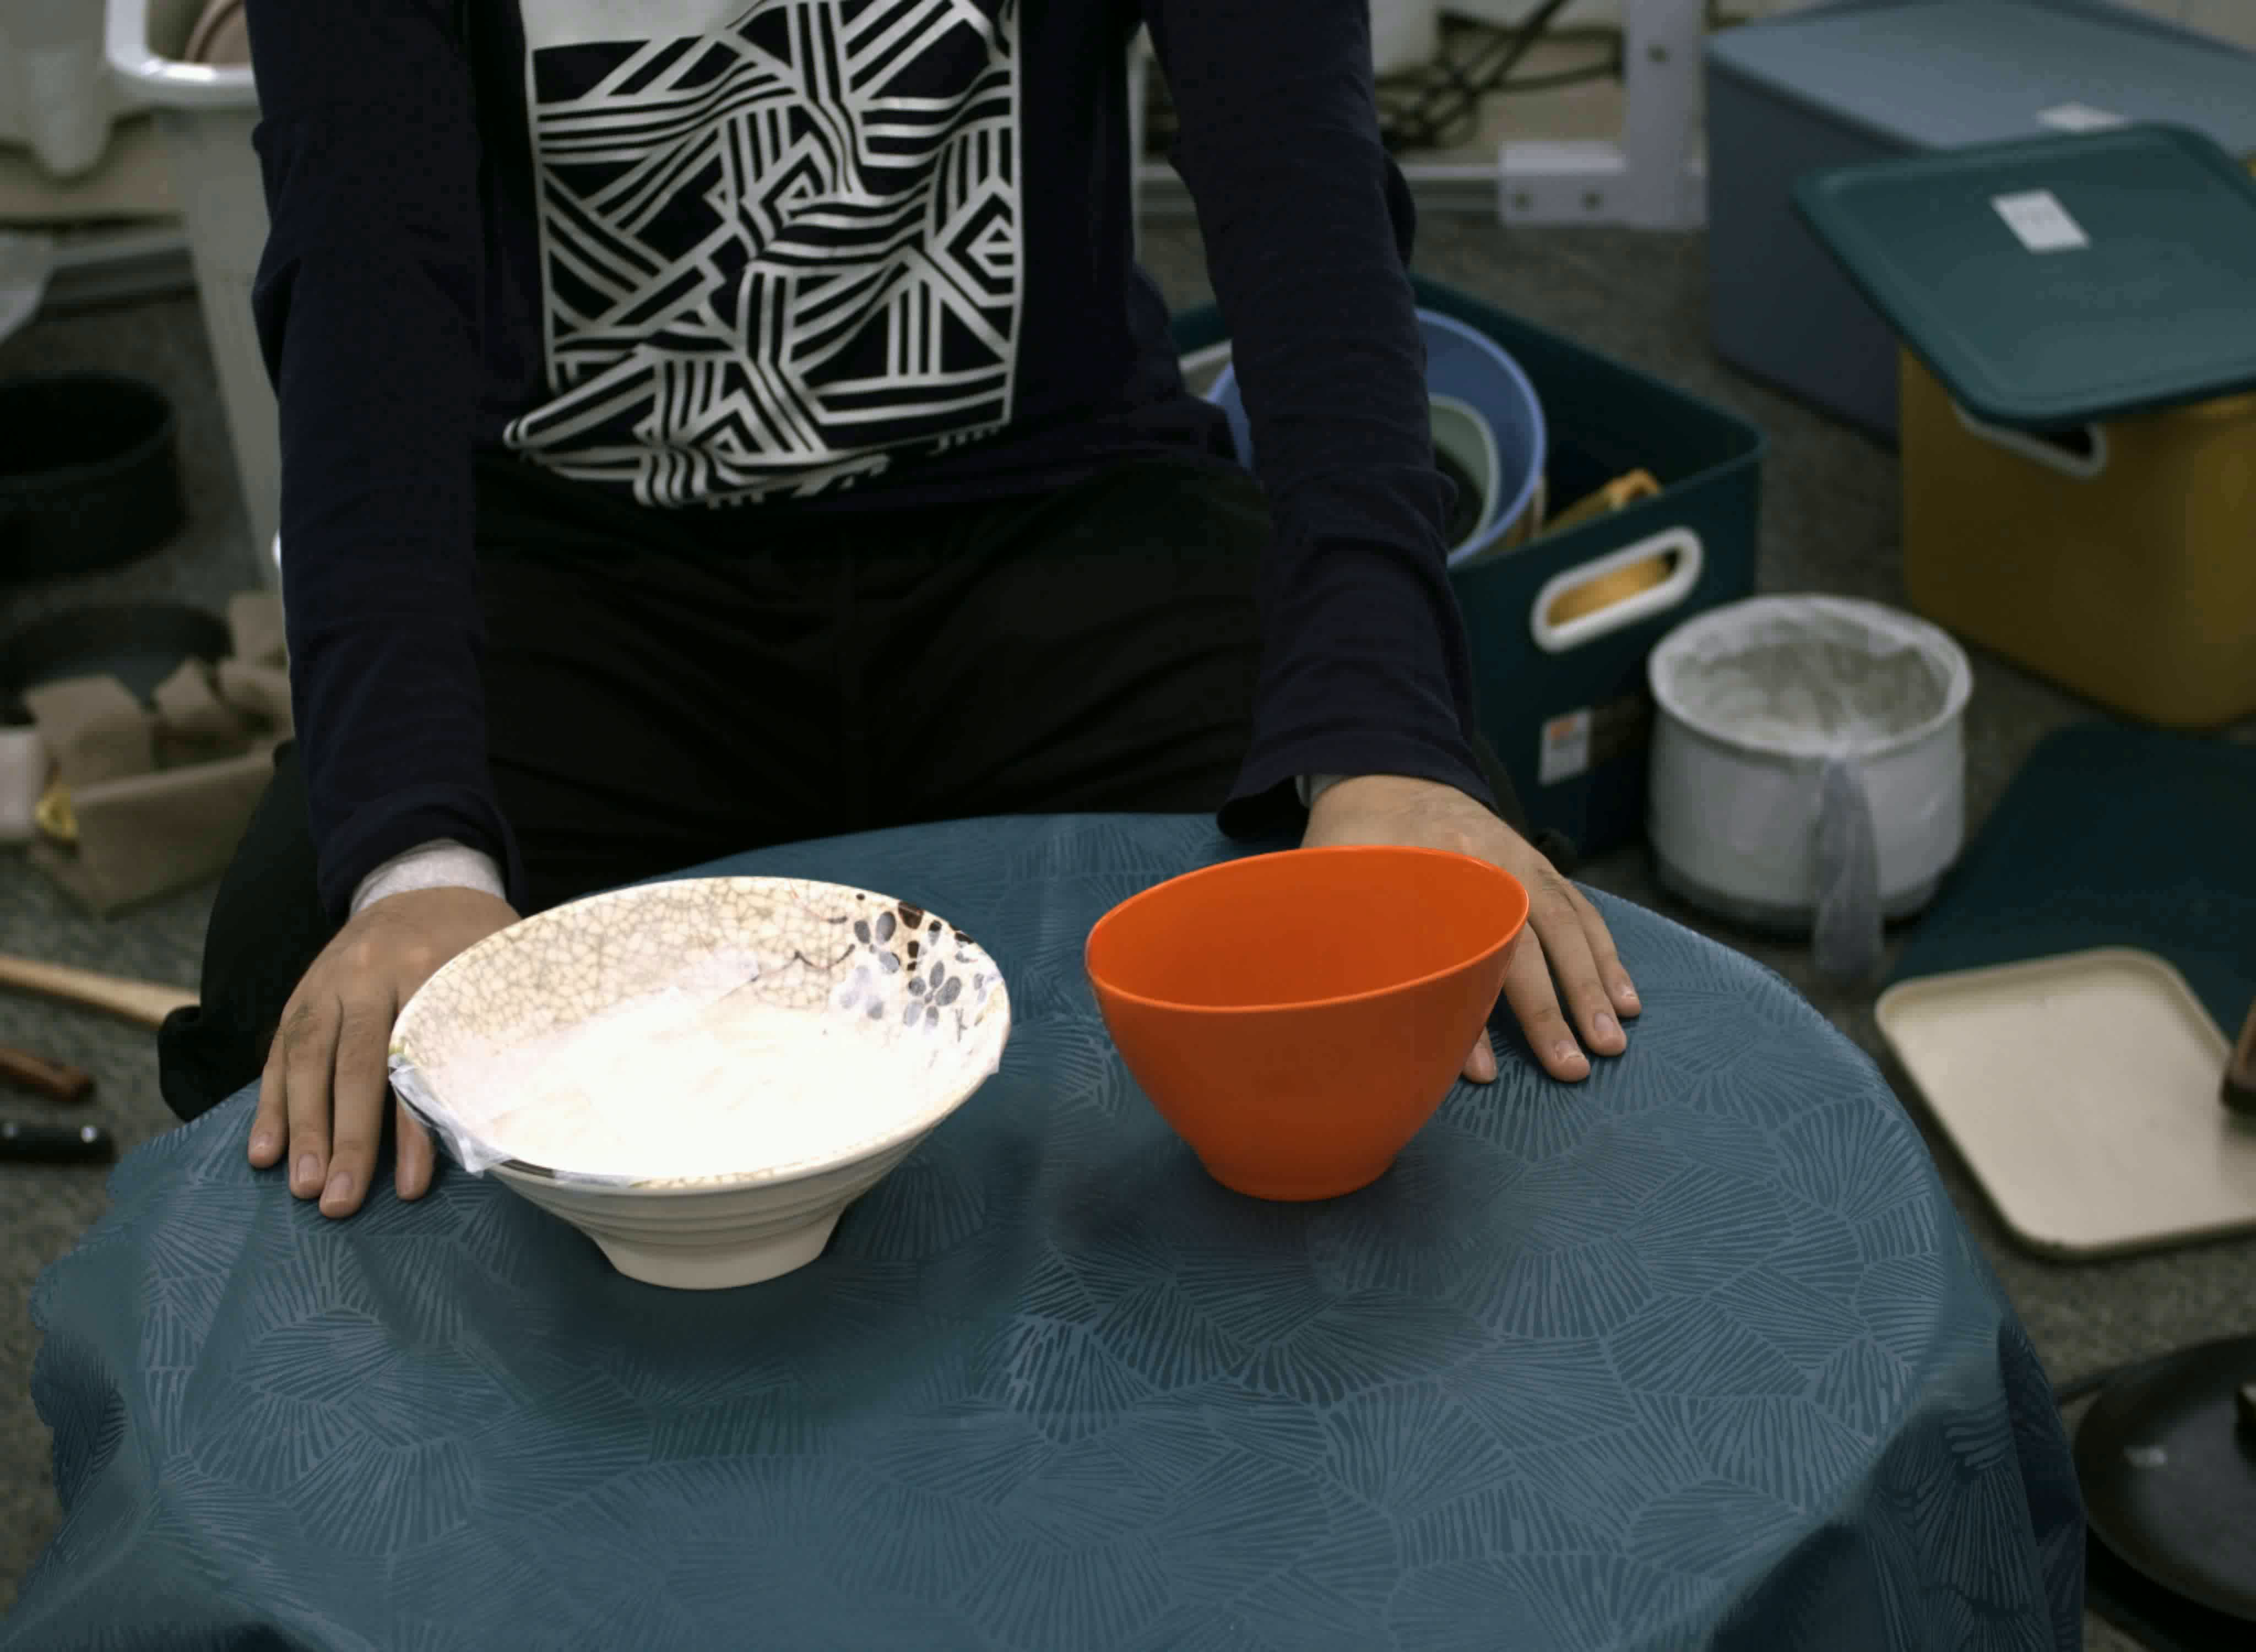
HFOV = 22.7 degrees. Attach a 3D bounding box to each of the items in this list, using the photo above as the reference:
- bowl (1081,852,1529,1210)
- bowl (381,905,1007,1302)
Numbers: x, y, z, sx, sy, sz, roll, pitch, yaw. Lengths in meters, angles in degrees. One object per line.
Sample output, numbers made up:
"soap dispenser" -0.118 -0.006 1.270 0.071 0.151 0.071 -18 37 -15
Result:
"bowl" 0.059 0.070 1.849 0.147 0.103 0.150 -3 25 2
"bowl" -0.140 0.102 1.838 0.203 0.077 0.206 -1 23 1
